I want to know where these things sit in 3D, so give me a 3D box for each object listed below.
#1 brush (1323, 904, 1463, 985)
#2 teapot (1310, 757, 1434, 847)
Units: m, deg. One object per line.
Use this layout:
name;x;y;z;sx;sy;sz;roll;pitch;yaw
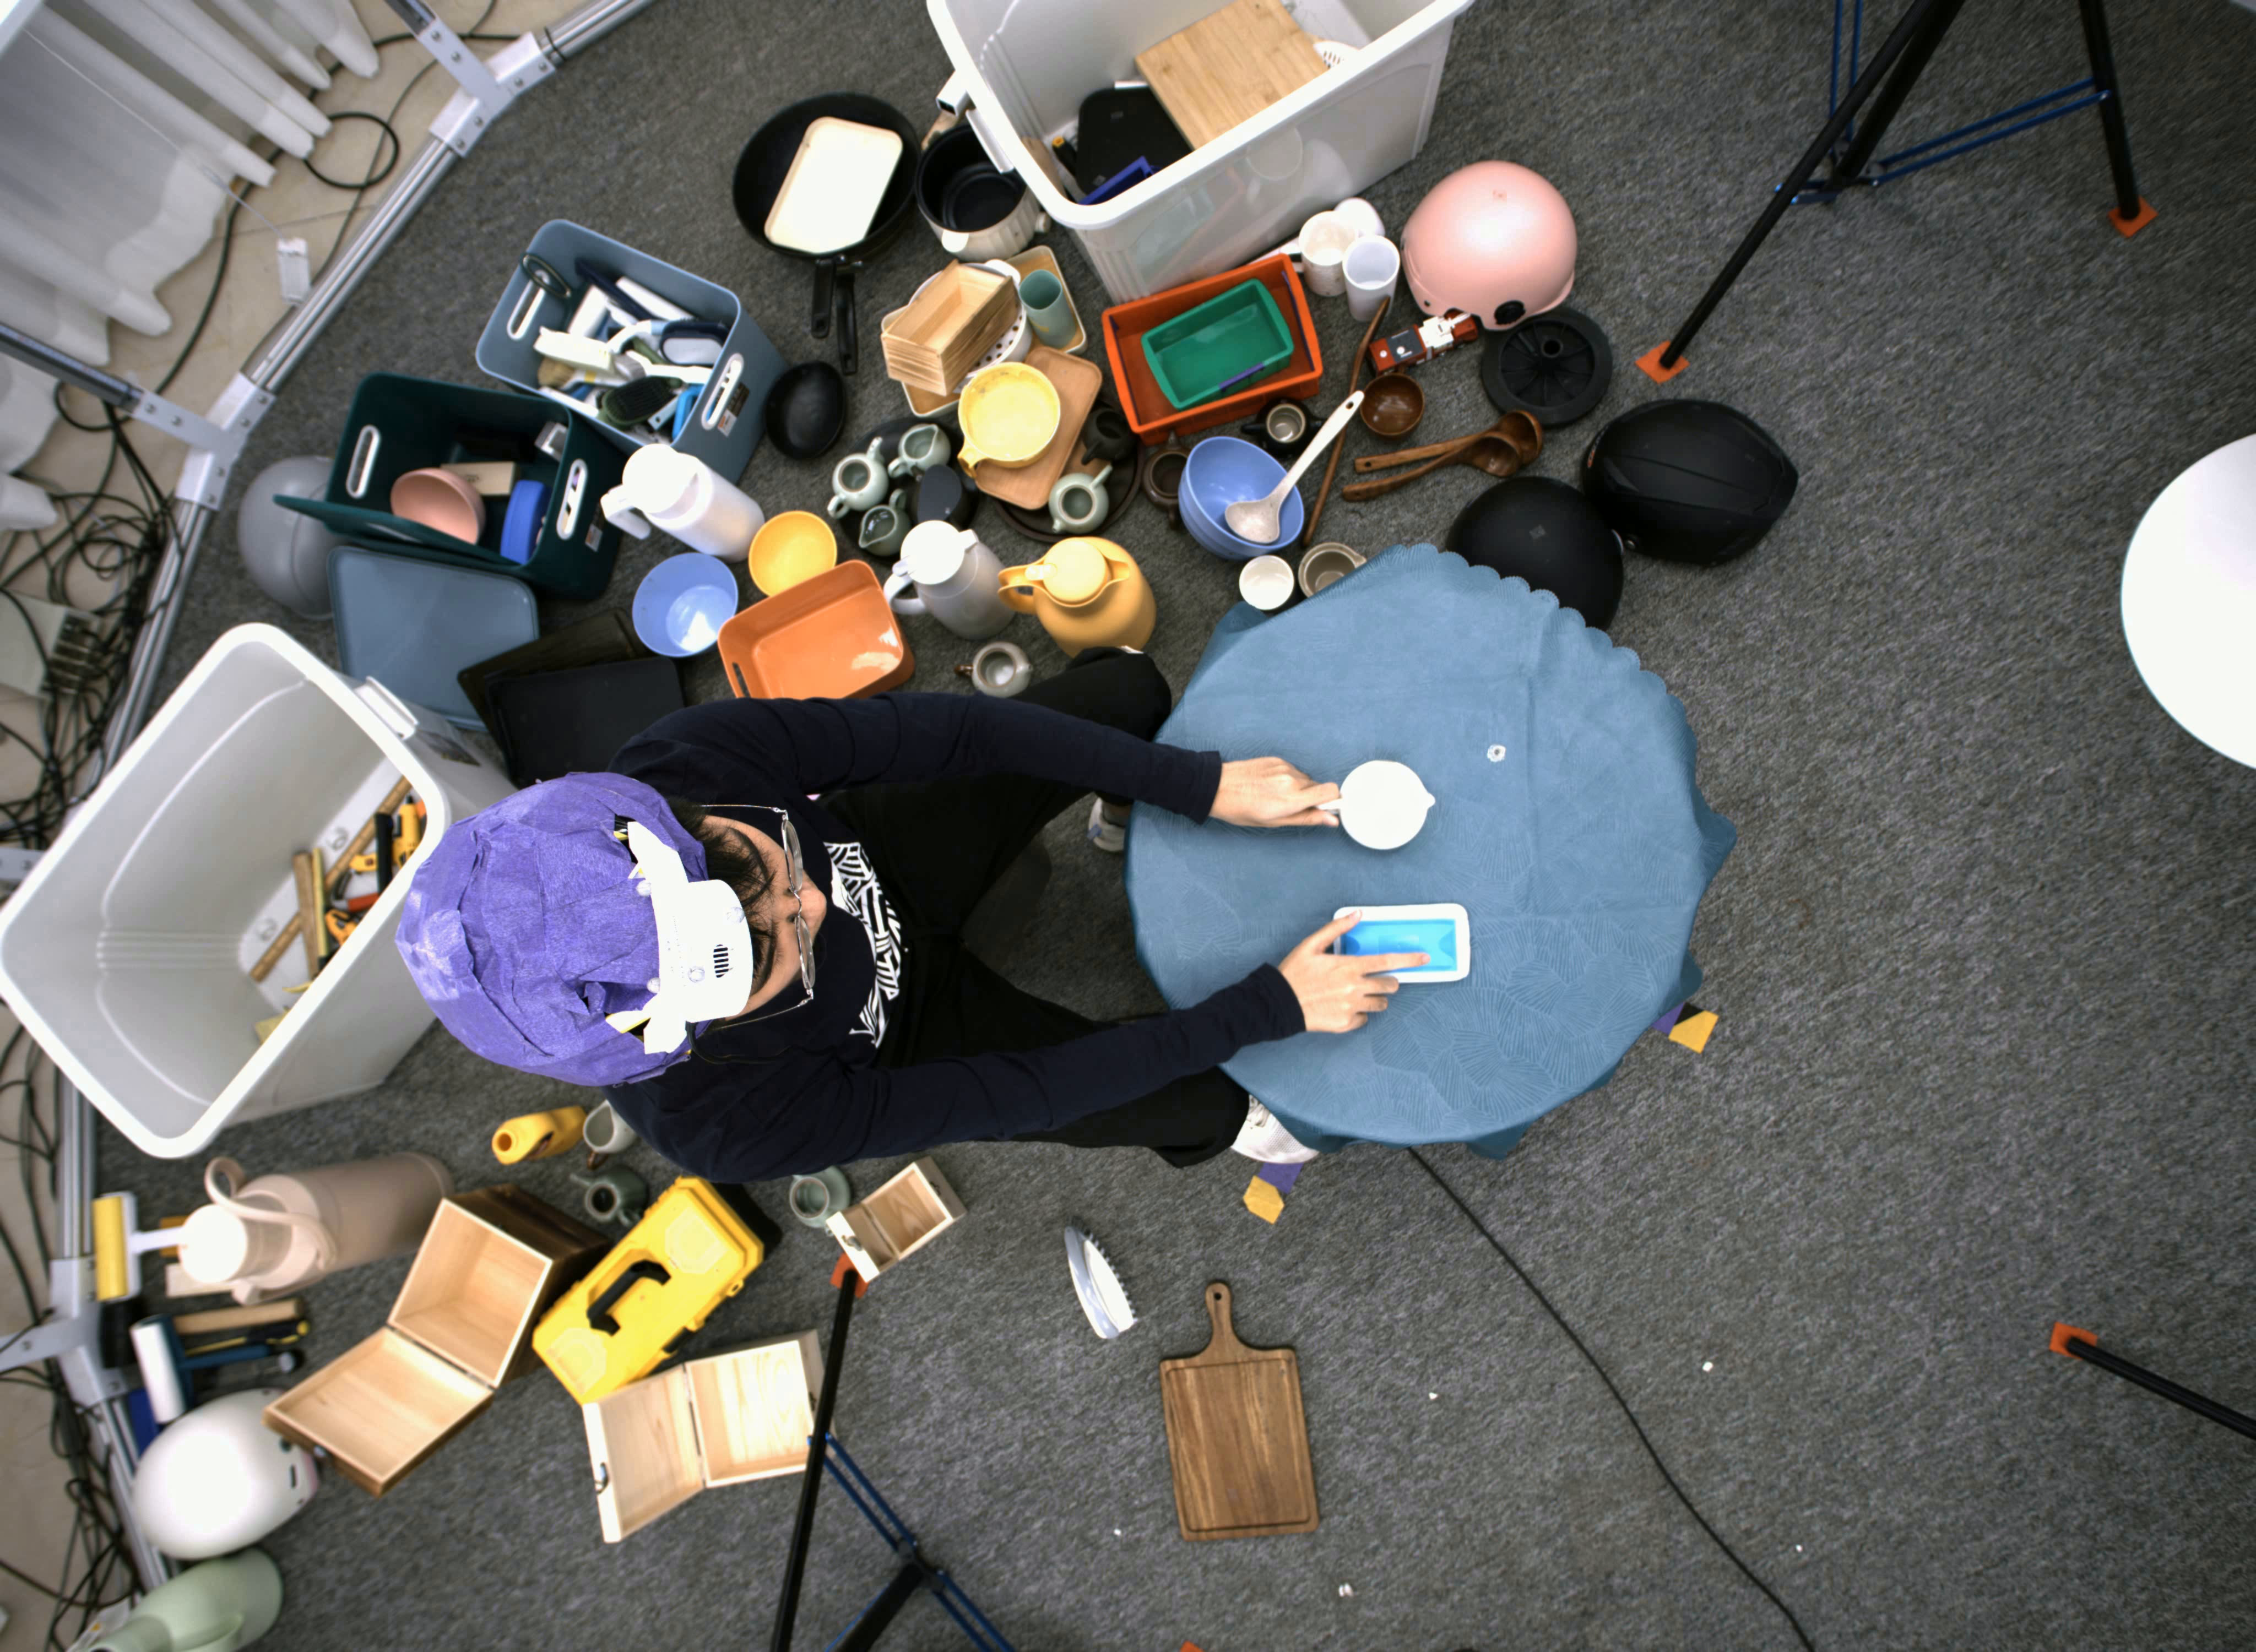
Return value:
brush;0.274;0.121;1.425;0.144;0.056;0.083;1;84;8
teapot;0.254;-0.025;1.438;0.128;0.056;0.093;-7;89;9
